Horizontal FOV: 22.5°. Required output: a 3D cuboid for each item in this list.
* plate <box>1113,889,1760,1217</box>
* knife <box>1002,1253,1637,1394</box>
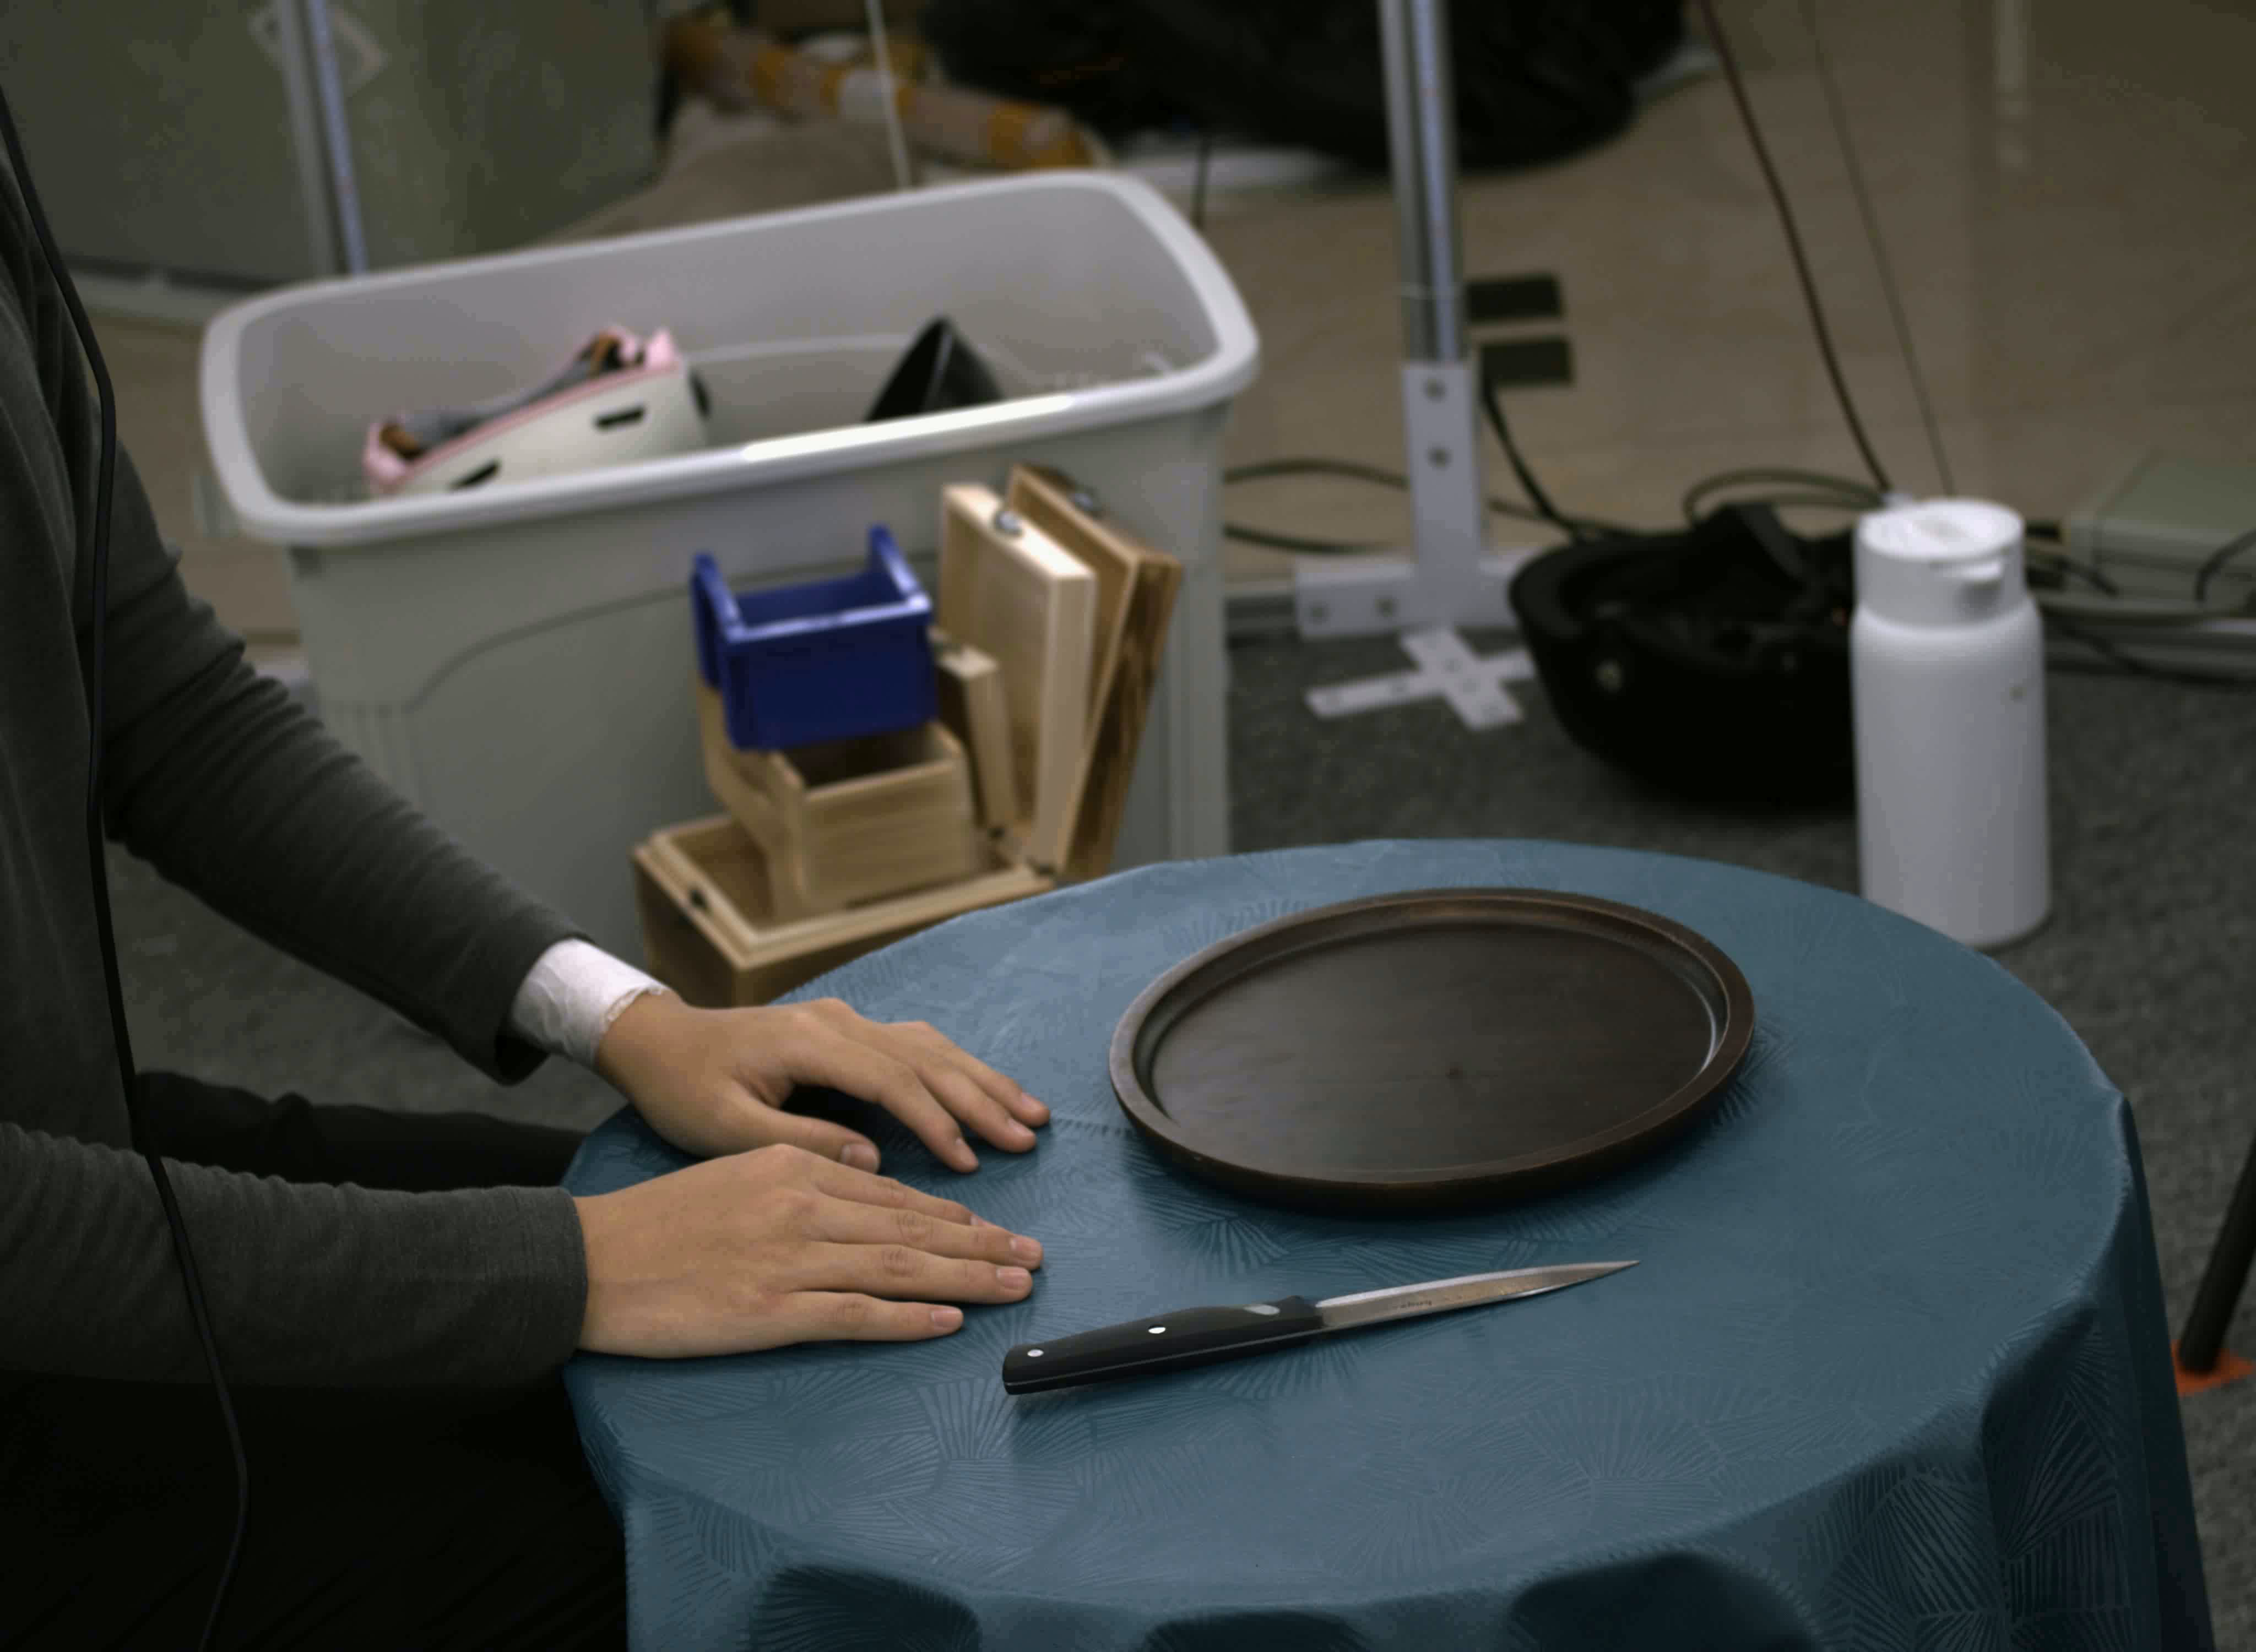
[{"bbox_3d":[0.119,0.087,2.207,0.254,0.029,0.251,-4,24,2],"label":"plate"},{"bbox_3d":[0.072,0.176,2.040,0.237,0.016,0.024,-9,28,-12],"label":"knife"}]
